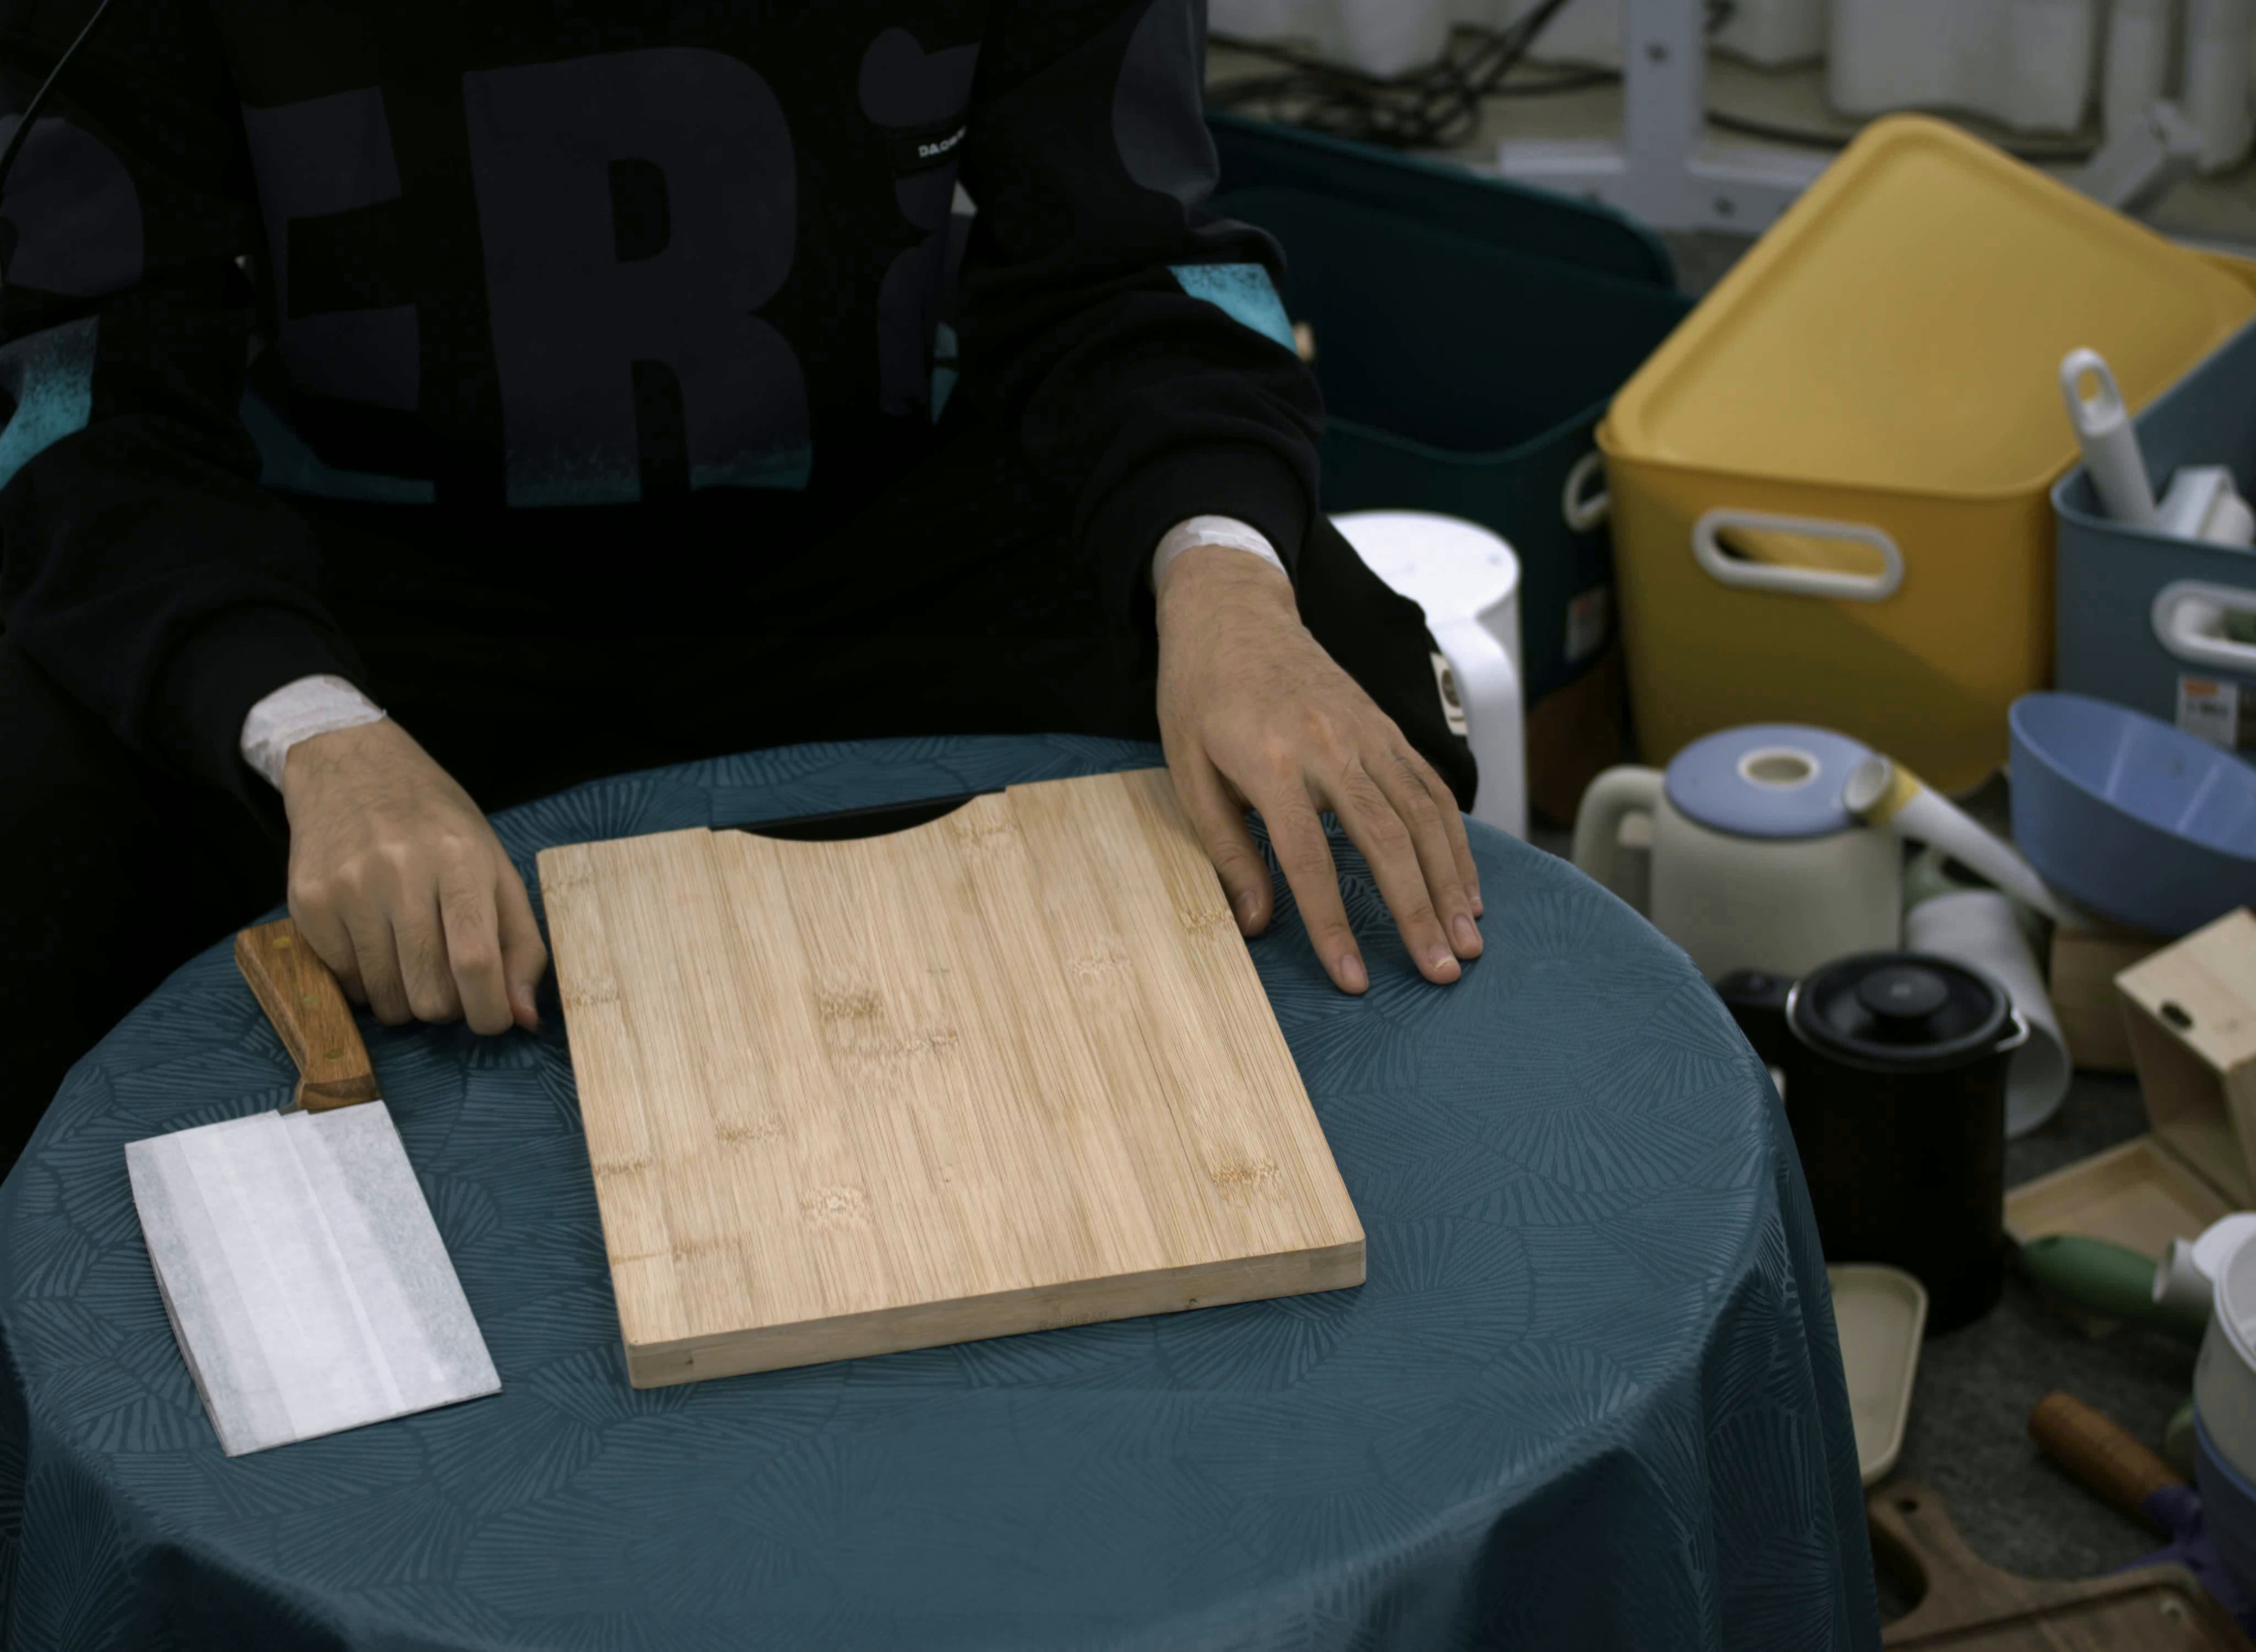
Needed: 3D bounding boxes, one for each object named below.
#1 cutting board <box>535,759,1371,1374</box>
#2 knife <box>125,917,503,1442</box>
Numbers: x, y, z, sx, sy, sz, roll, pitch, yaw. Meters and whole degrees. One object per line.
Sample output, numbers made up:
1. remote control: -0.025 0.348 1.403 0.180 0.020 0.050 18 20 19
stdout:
1. cutting board: -0.070 0.077 1.937 0.250 0.023 0.353 -7 28 -9
2. knife: -0.285 0.117 1.883 0.093 0.021 0.309 -13 31 -14
